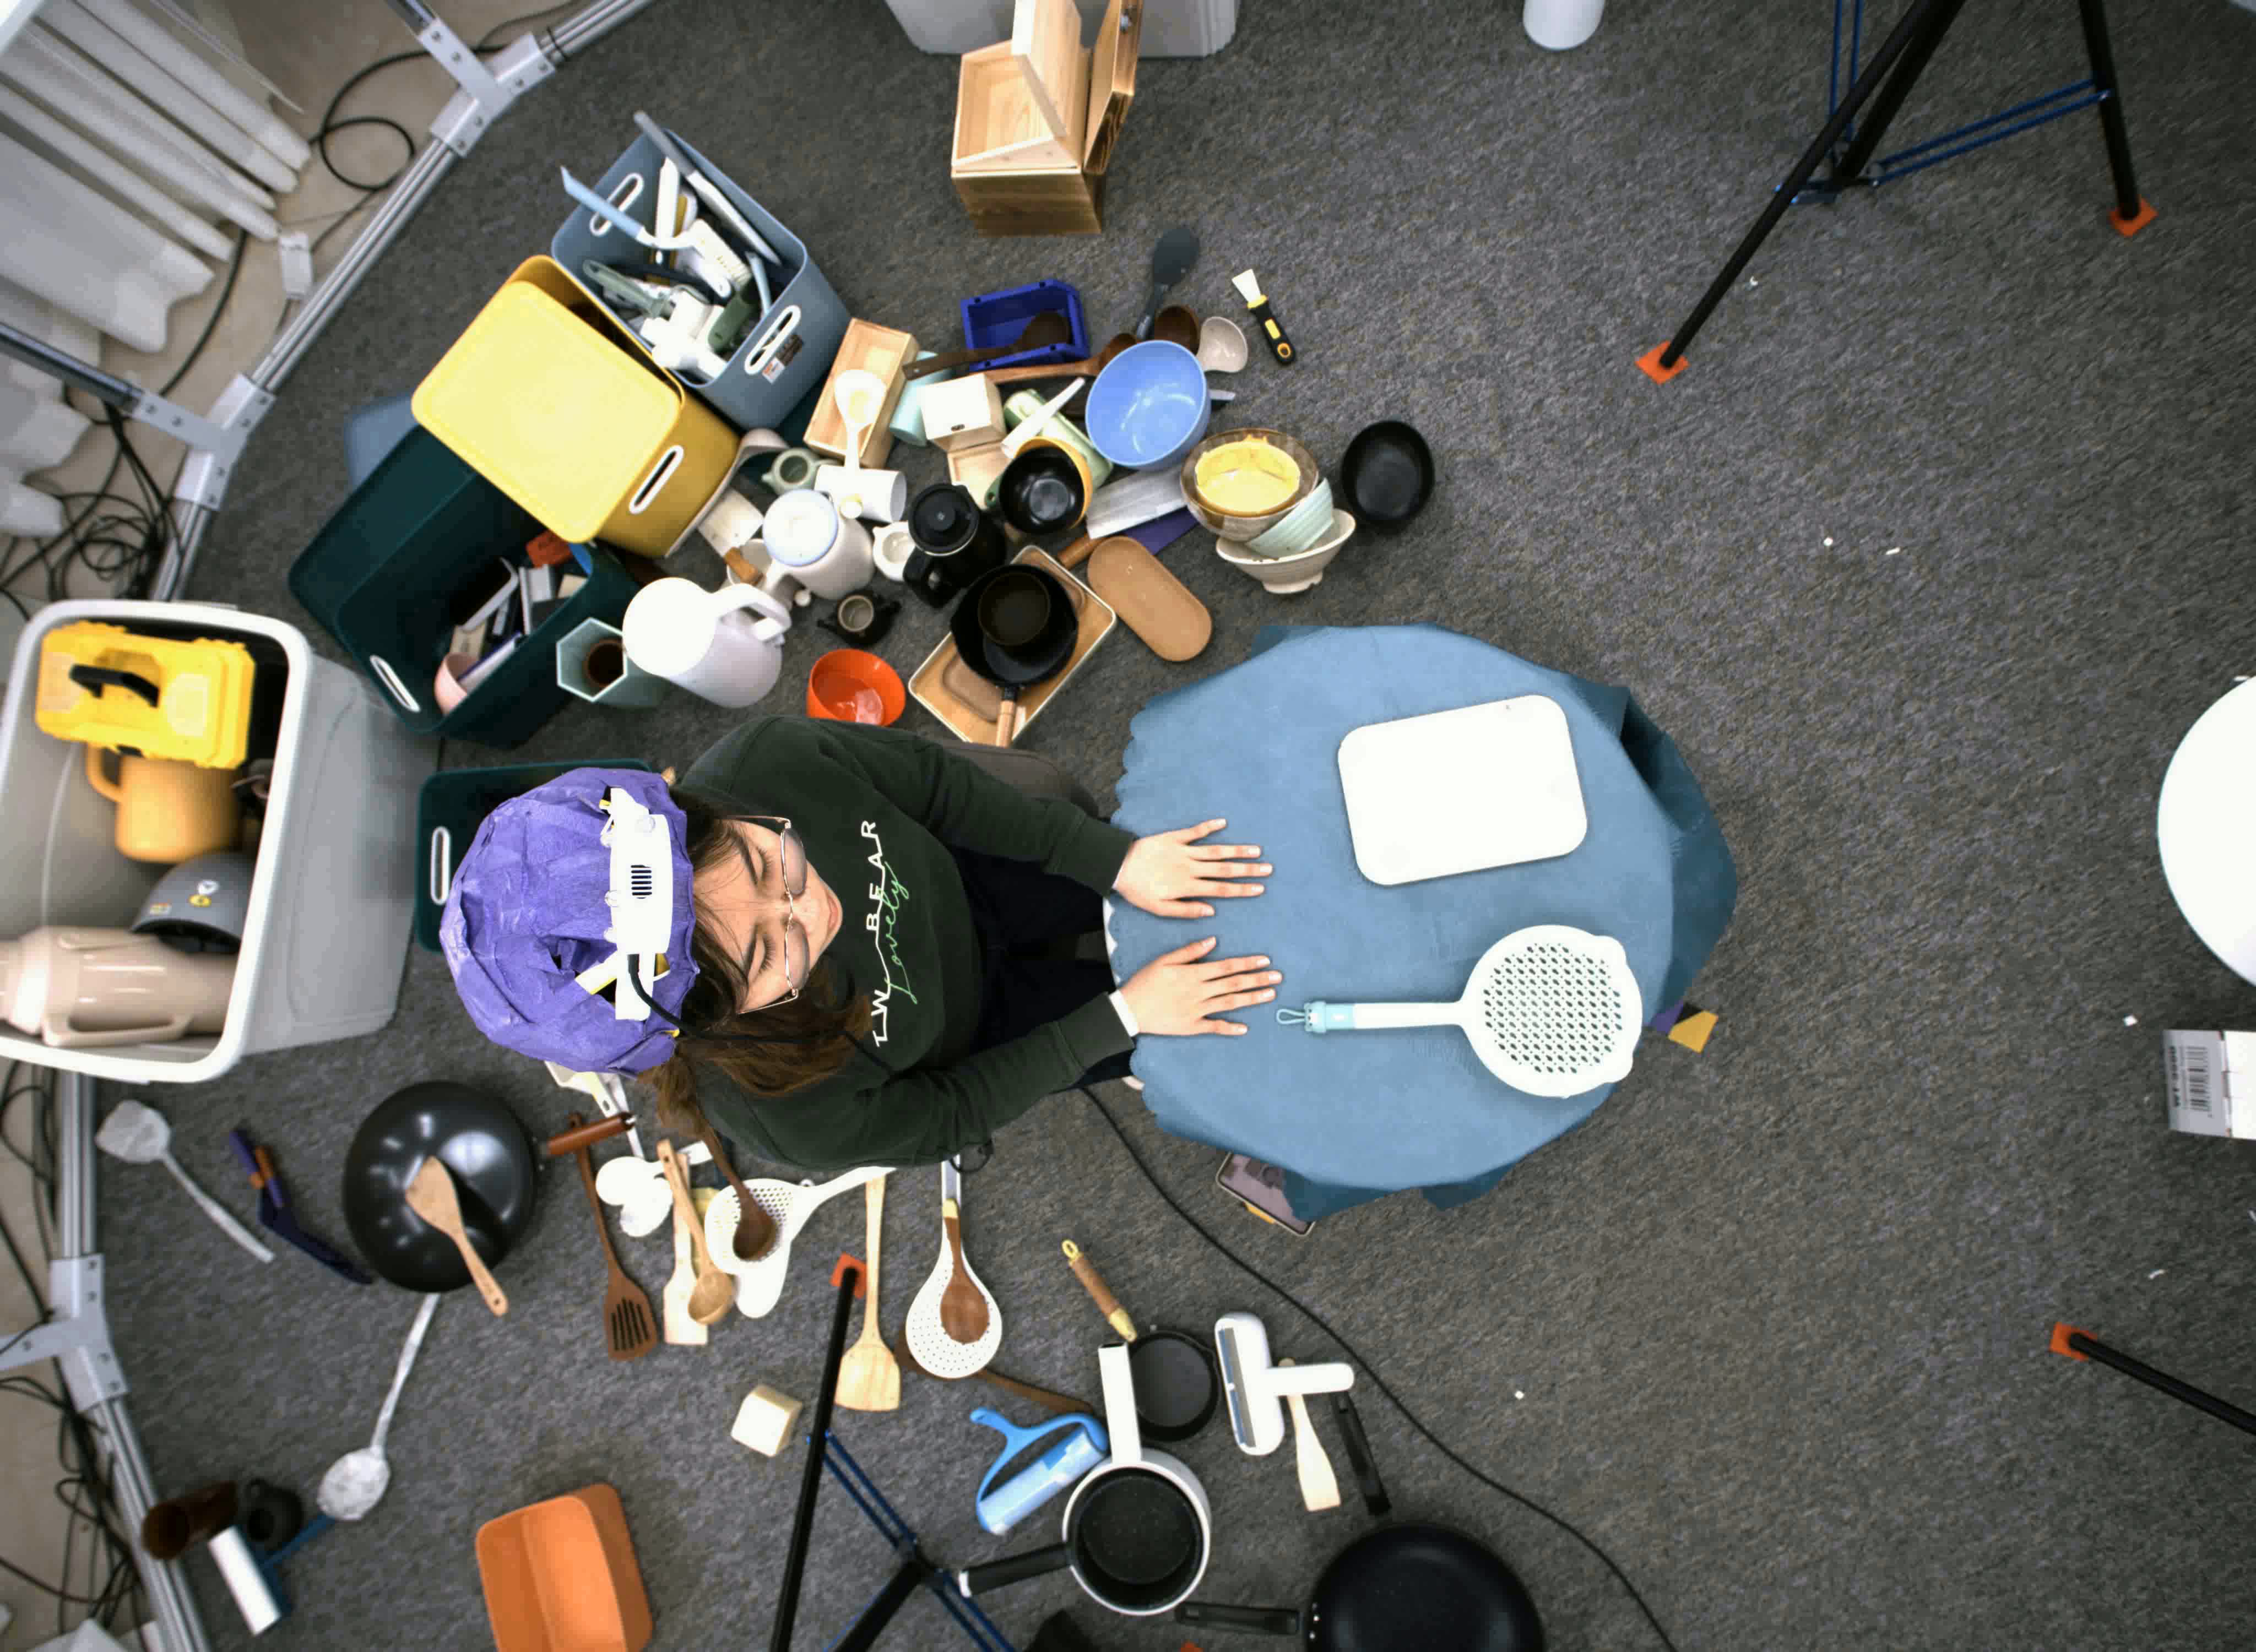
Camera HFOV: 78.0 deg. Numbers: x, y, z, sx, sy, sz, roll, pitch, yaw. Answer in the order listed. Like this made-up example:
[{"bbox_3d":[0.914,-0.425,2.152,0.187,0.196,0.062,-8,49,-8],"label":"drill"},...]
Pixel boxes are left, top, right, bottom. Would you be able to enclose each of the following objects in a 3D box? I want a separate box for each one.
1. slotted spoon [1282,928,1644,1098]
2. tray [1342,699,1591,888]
[{"bbox_3d":[0.335,0.191,1.413,0.360,0.075,0.168,-3,84,11],"label":"slotted spoon"},{"bbox_3d":[0.354,-0.035,1.448,0.241,0.017,0.170,-11,84,10],"label":"tray"}]
